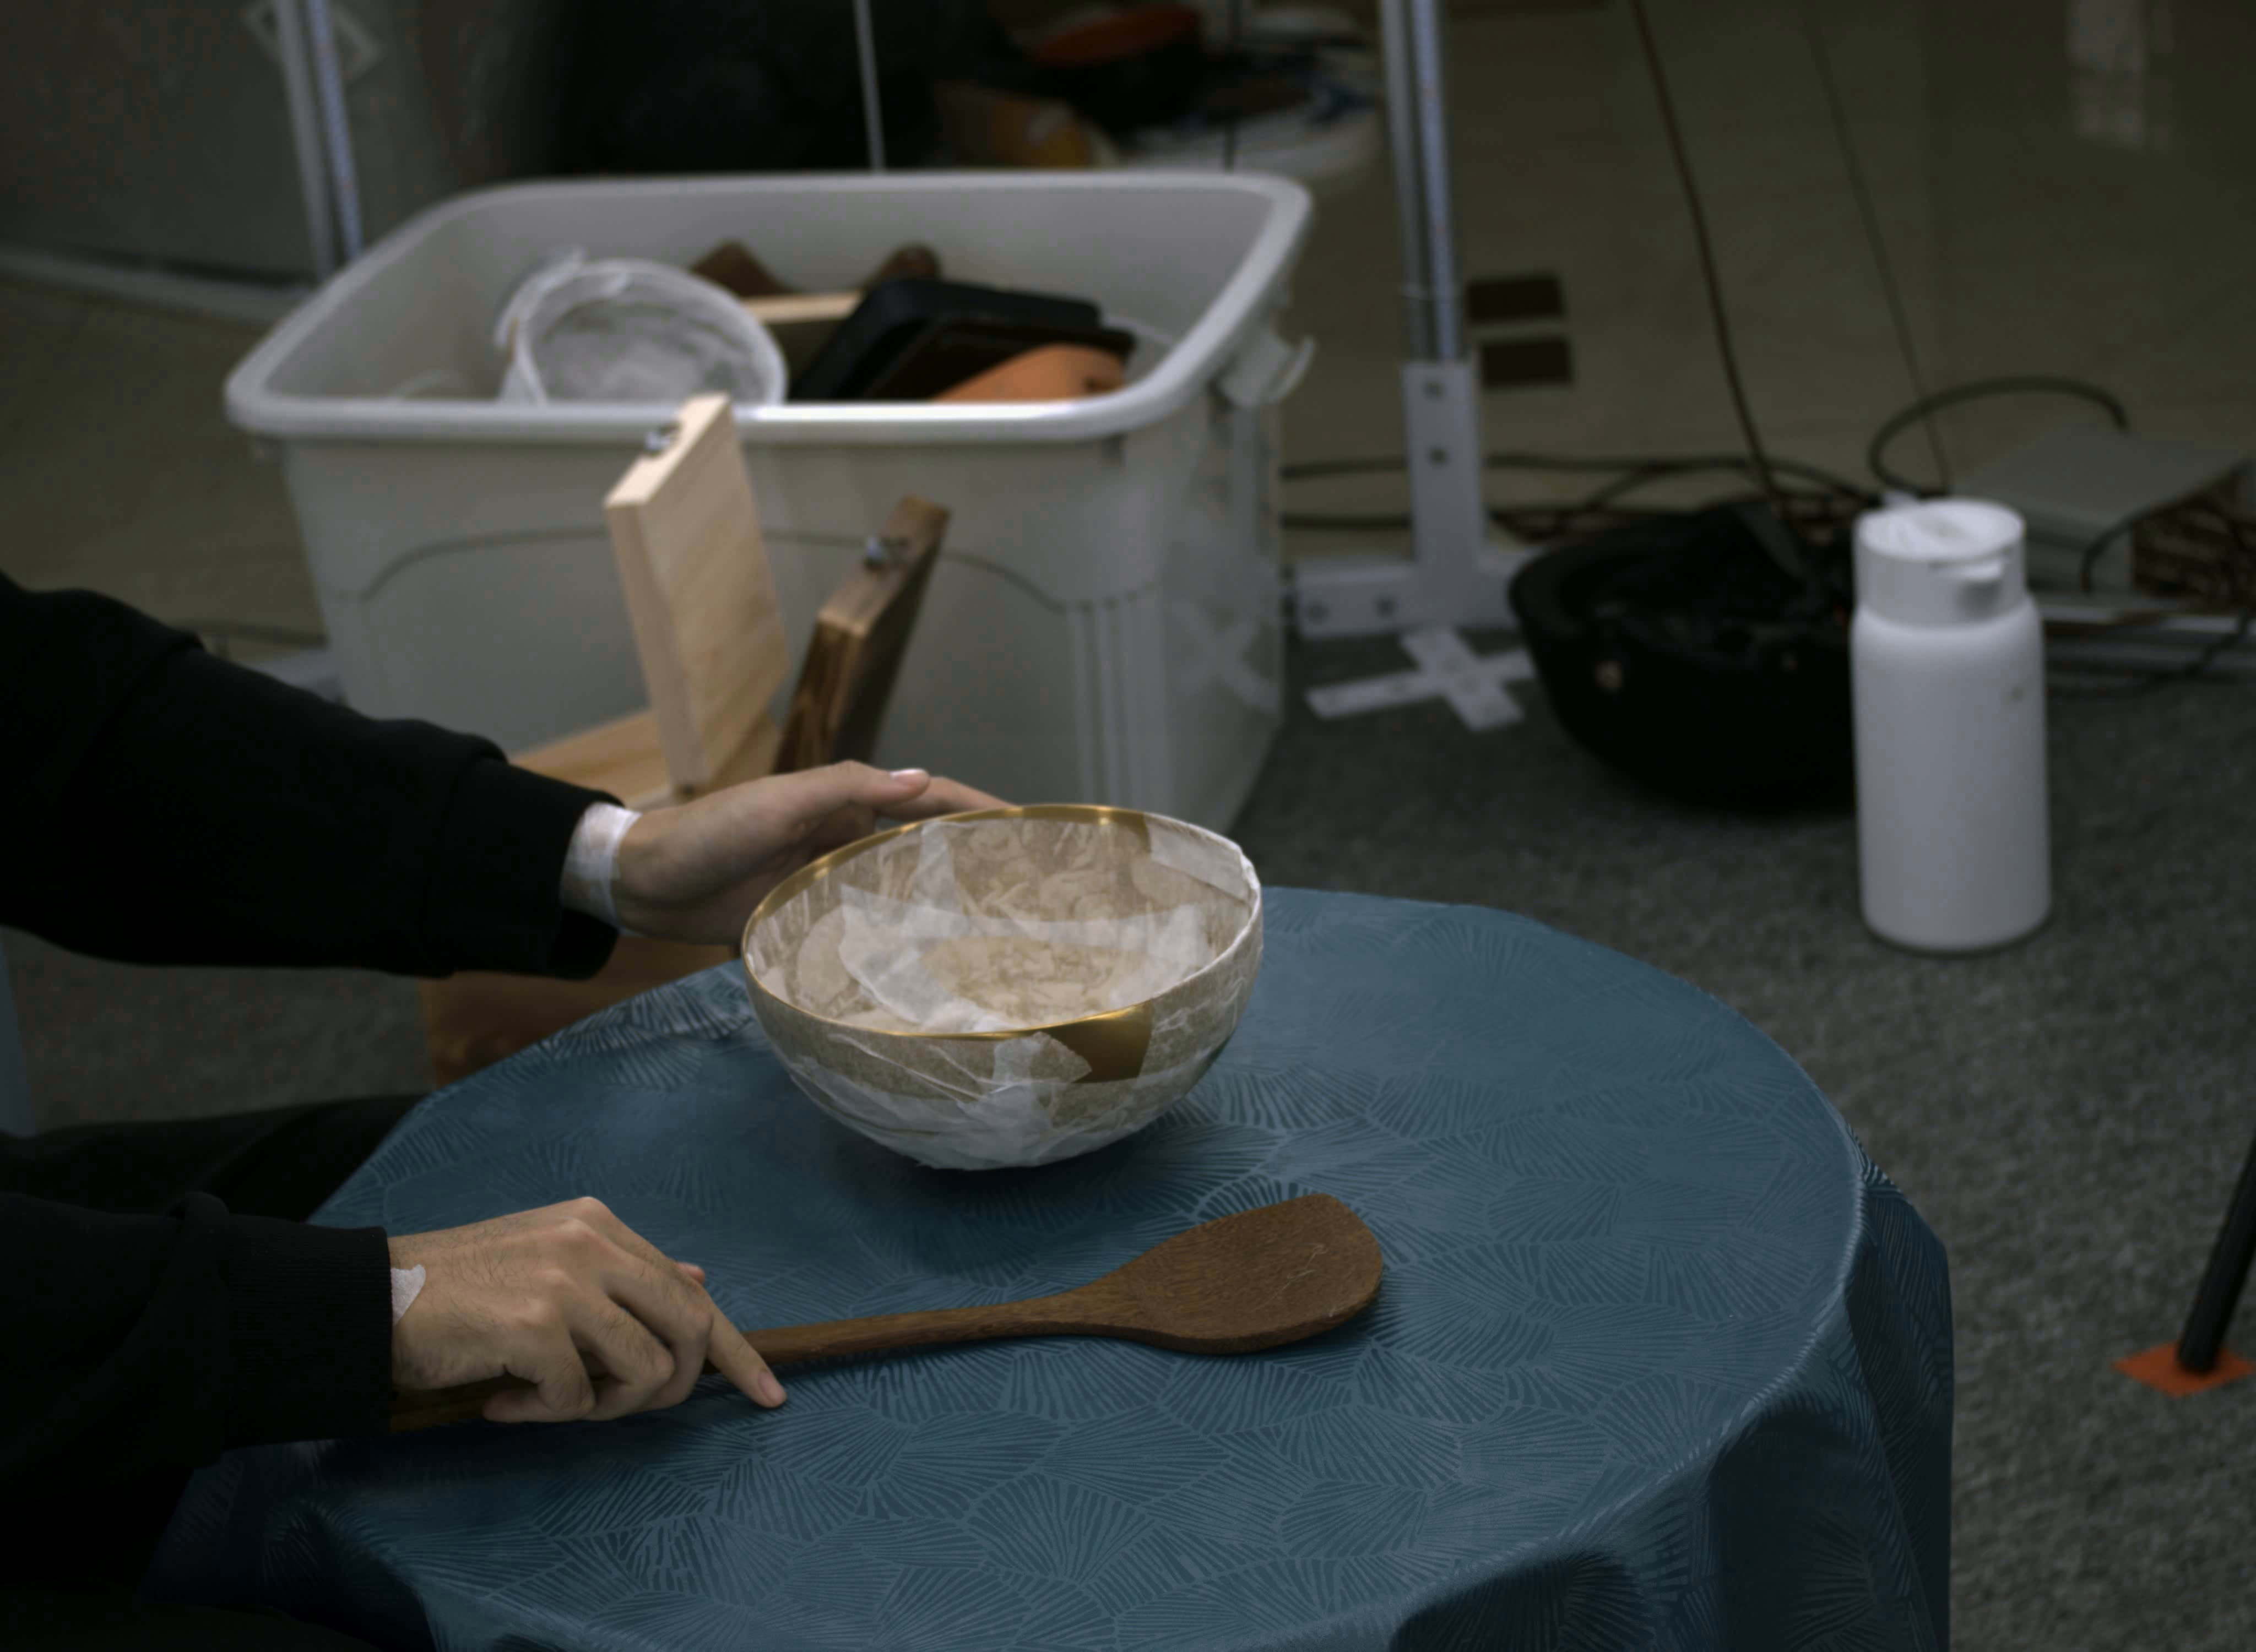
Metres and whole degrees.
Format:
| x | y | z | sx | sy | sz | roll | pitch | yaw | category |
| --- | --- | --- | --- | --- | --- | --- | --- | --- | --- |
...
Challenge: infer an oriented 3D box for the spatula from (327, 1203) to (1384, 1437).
| x | y | z | sx | sy | sz | roll | pitch | yaw | category |
| --- | --- | --- | --- | --- | --- | --- | --- | --- | --- |
| -0.098 | 0.185 | 2.056 | 0.385 | 0.016 | 0.095 | -7 | 24 | -5 | spatula |

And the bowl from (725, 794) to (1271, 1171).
| x | y | z | sx | sy | sz | roll | pitch | yaw | category |
| --- | --- | --- | --- | --- | --- | --- | --- | --- | --- |
| -0.046 | 0.073 | 2.194 | 0.214 | 0.096 | 0.211 | -6 | 26 | 3 | bowl |
